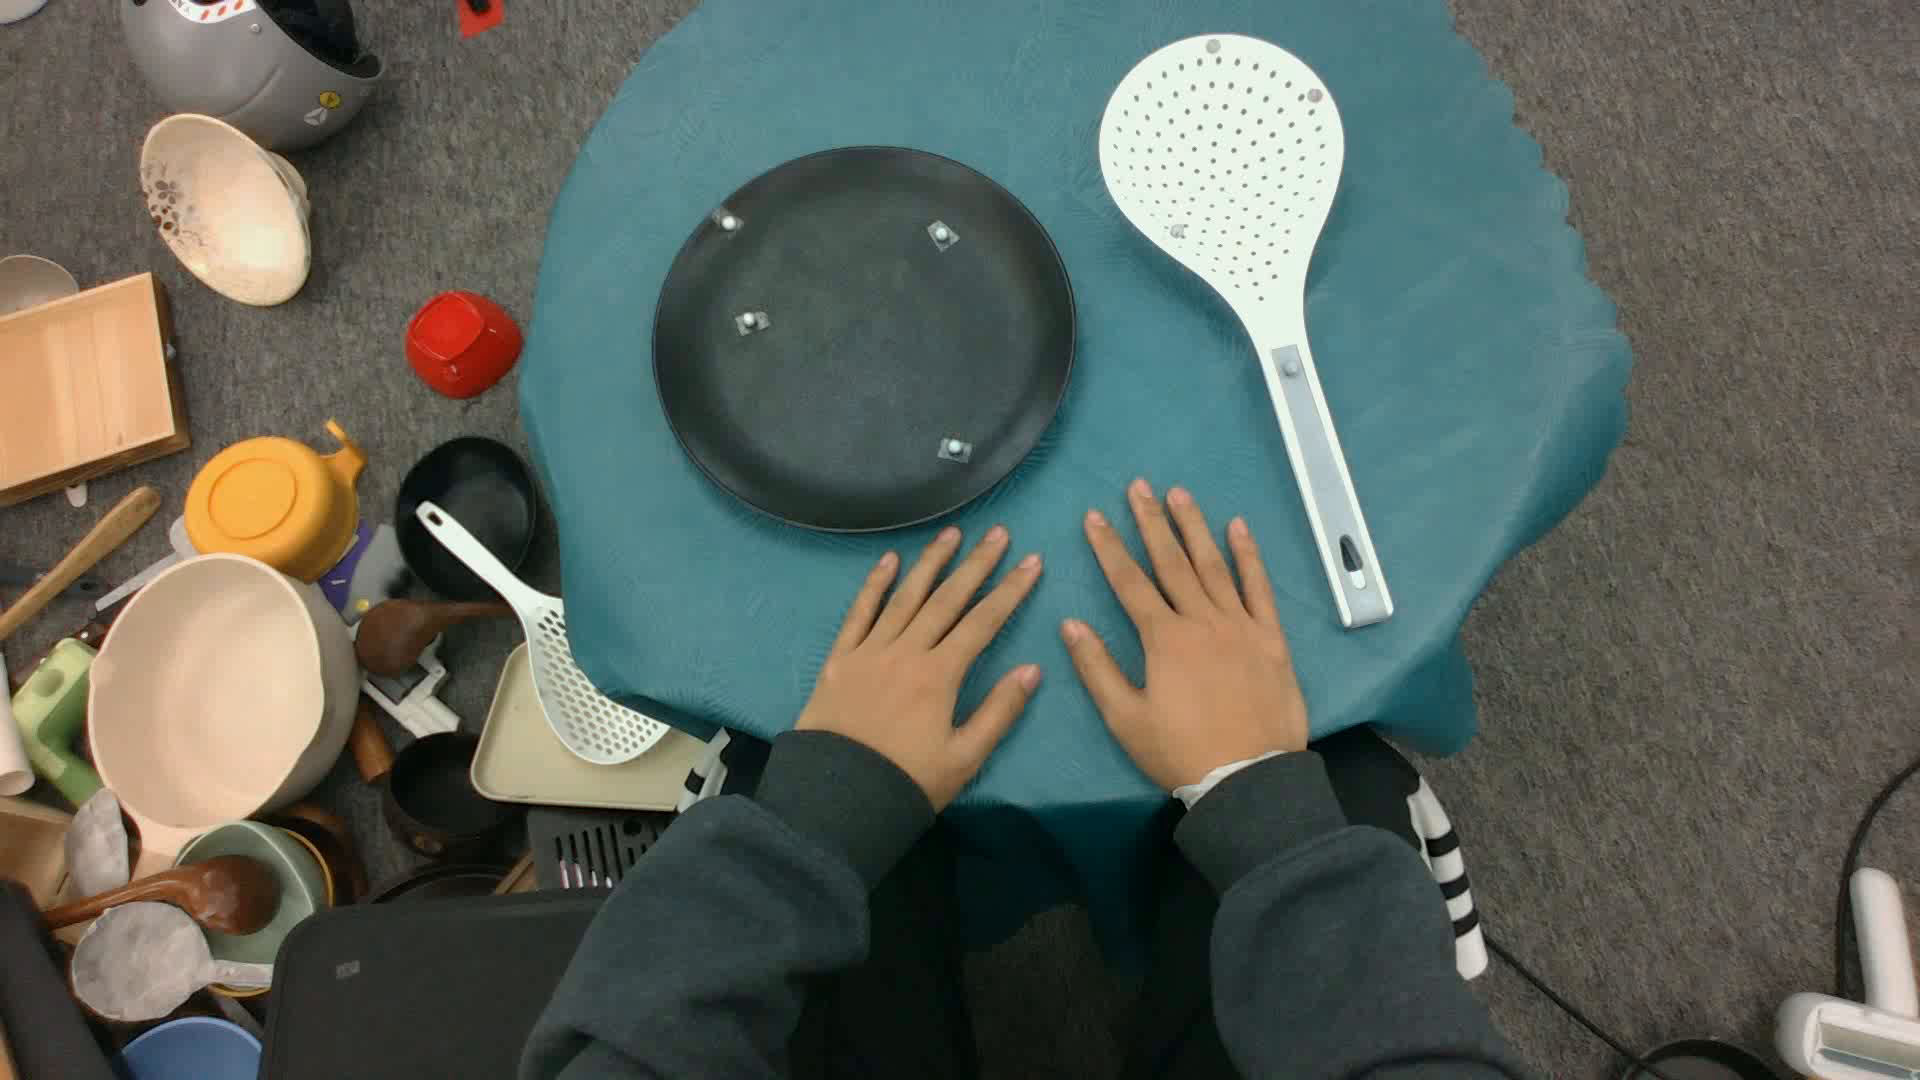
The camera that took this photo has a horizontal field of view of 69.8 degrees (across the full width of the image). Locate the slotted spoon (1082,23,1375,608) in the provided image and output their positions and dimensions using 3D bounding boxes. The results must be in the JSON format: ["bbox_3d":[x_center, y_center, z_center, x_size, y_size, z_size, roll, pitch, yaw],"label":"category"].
[{"bbox_3d":[0.166,-0.131,0.768,0.136,0.045,0.350,-15,73,0],"label":"slotted spoon"}]

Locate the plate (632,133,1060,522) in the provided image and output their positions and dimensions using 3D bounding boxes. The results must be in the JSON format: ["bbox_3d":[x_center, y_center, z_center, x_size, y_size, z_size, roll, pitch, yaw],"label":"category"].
[{"bbox_3d":[-0.064,-0.124,0.788,0.244,0.023,0.245,-1,72,2],"label":"plate"}]
